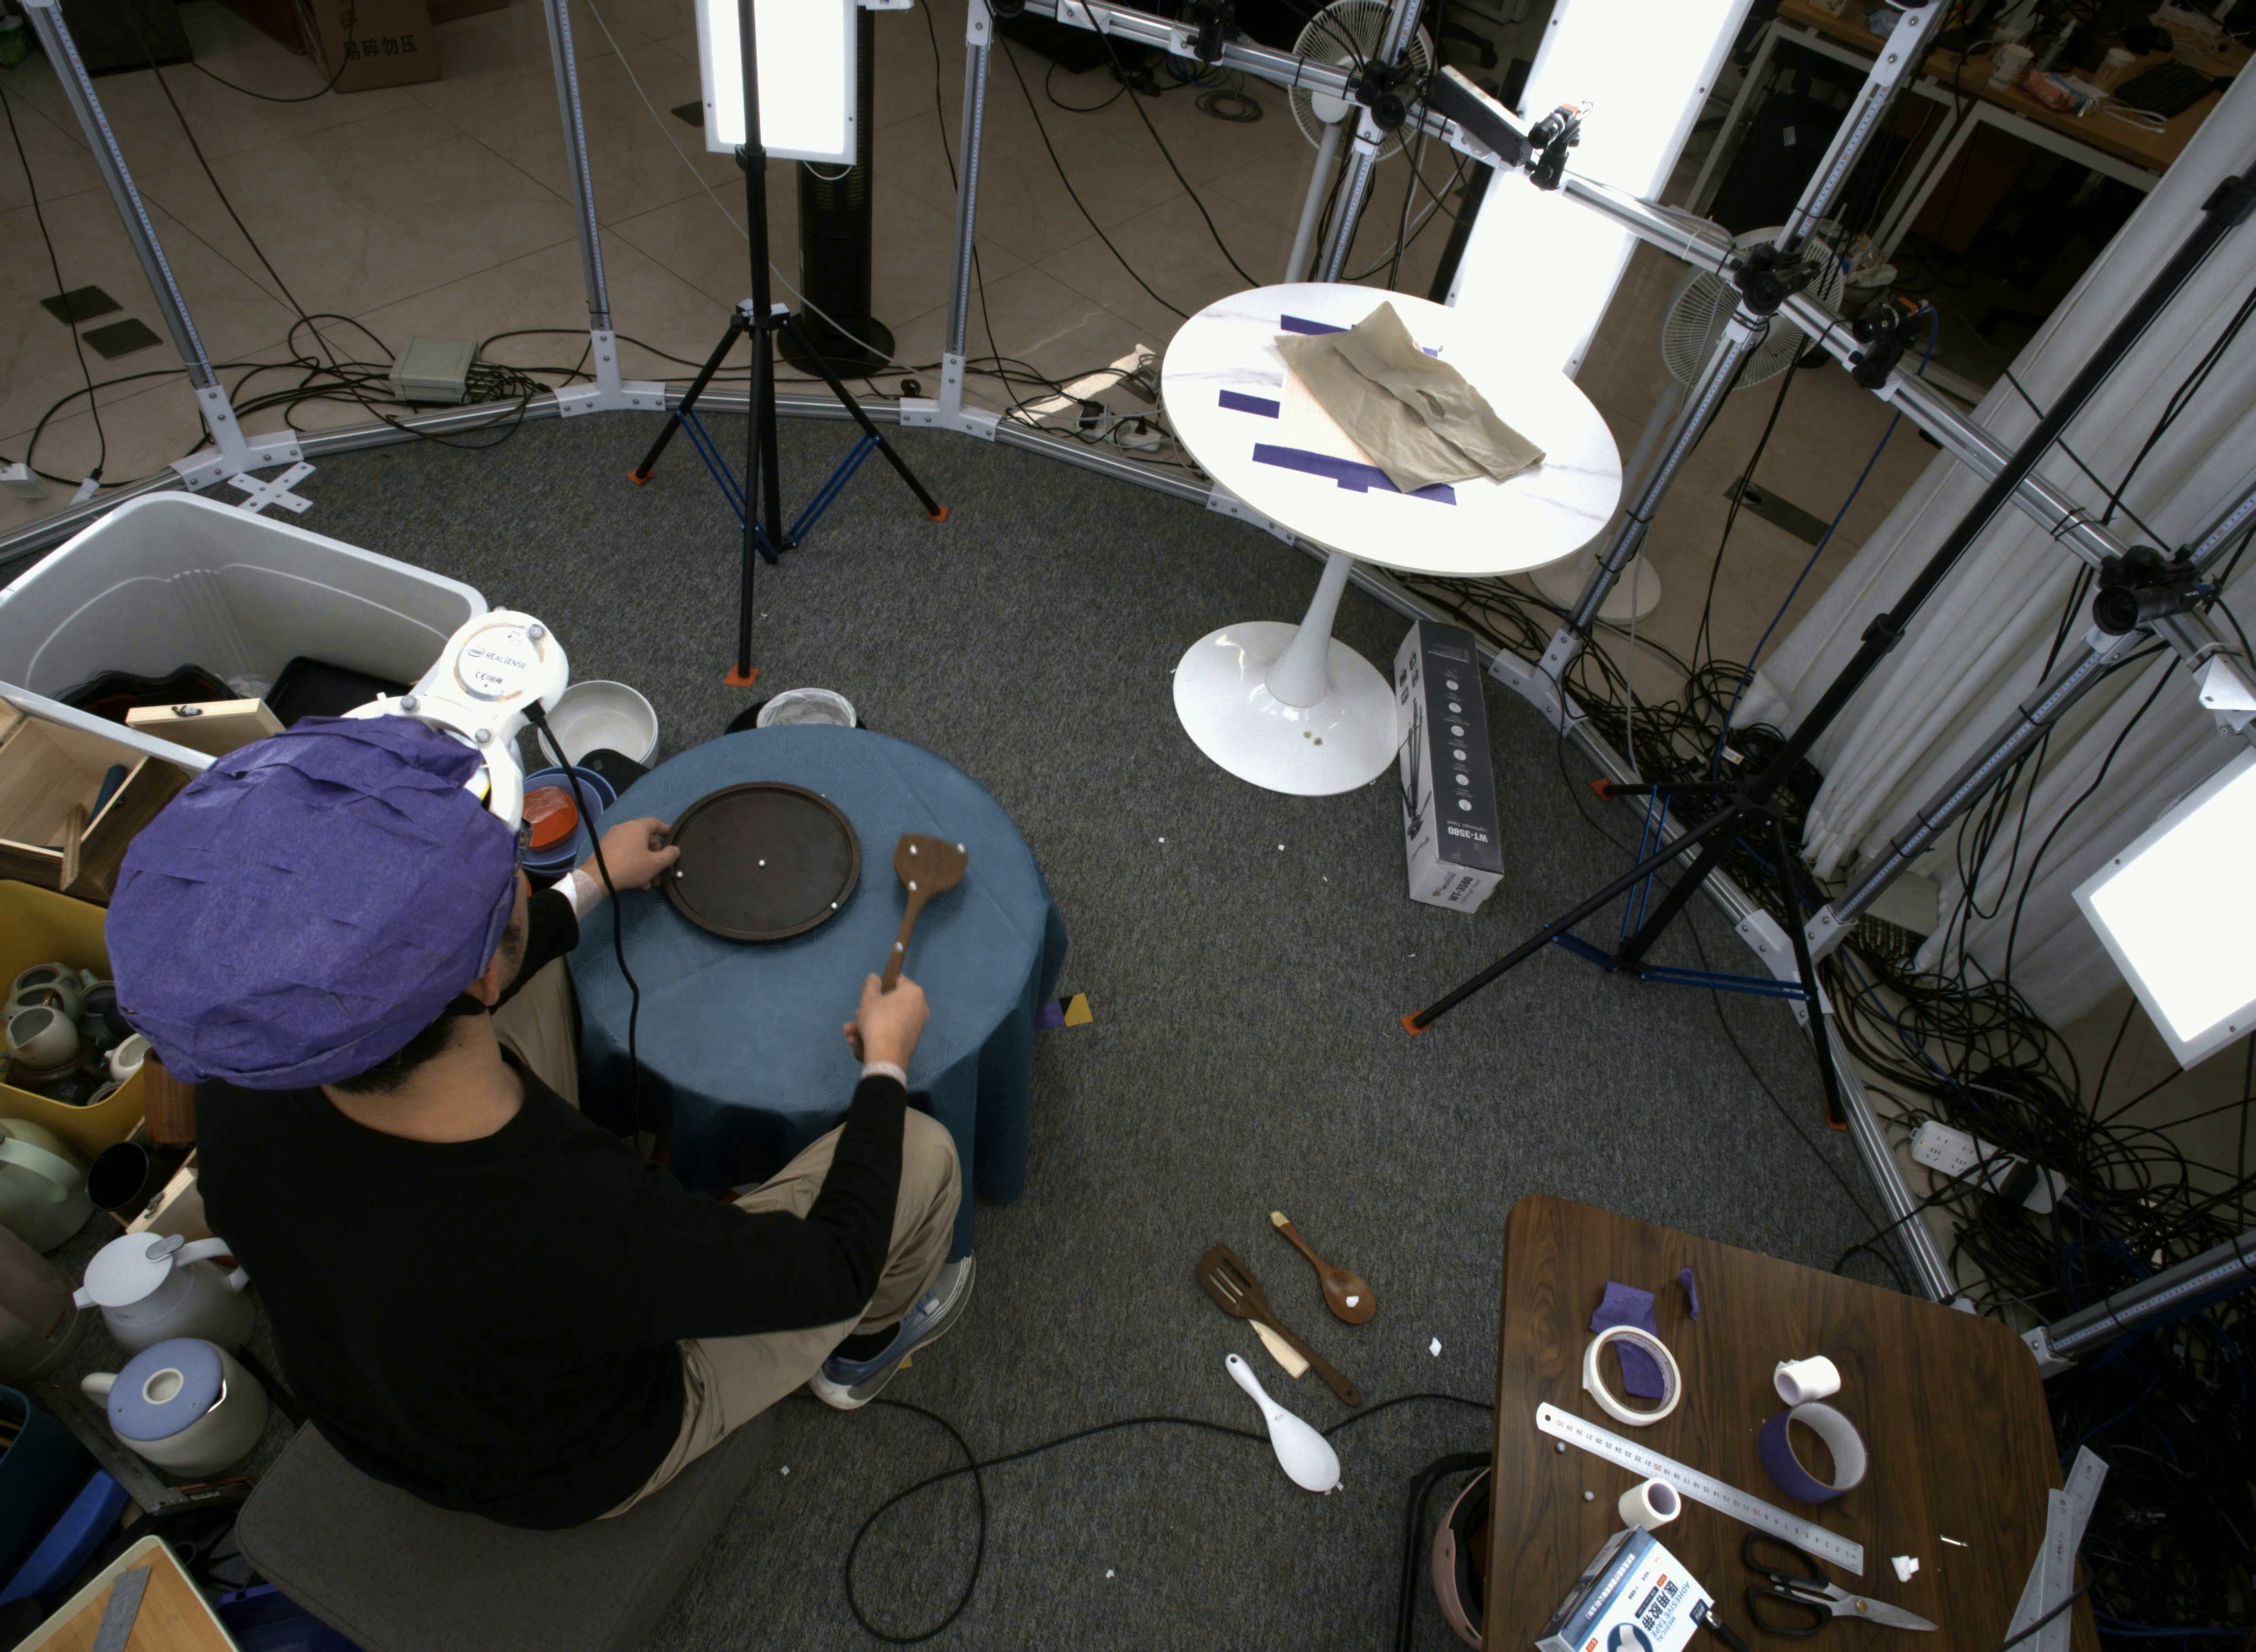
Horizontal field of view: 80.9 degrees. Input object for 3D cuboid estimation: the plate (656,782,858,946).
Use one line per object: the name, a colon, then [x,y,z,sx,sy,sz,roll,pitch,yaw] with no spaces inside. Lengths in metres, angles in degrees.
plate: [-0.474,0.045,1.656,0.254,0.029,0.250,9,53,-10]

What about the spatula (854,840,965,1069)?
spatula: [-0.273,0.142,1.567,0.096,0.016,0.379,18,38,-8]
